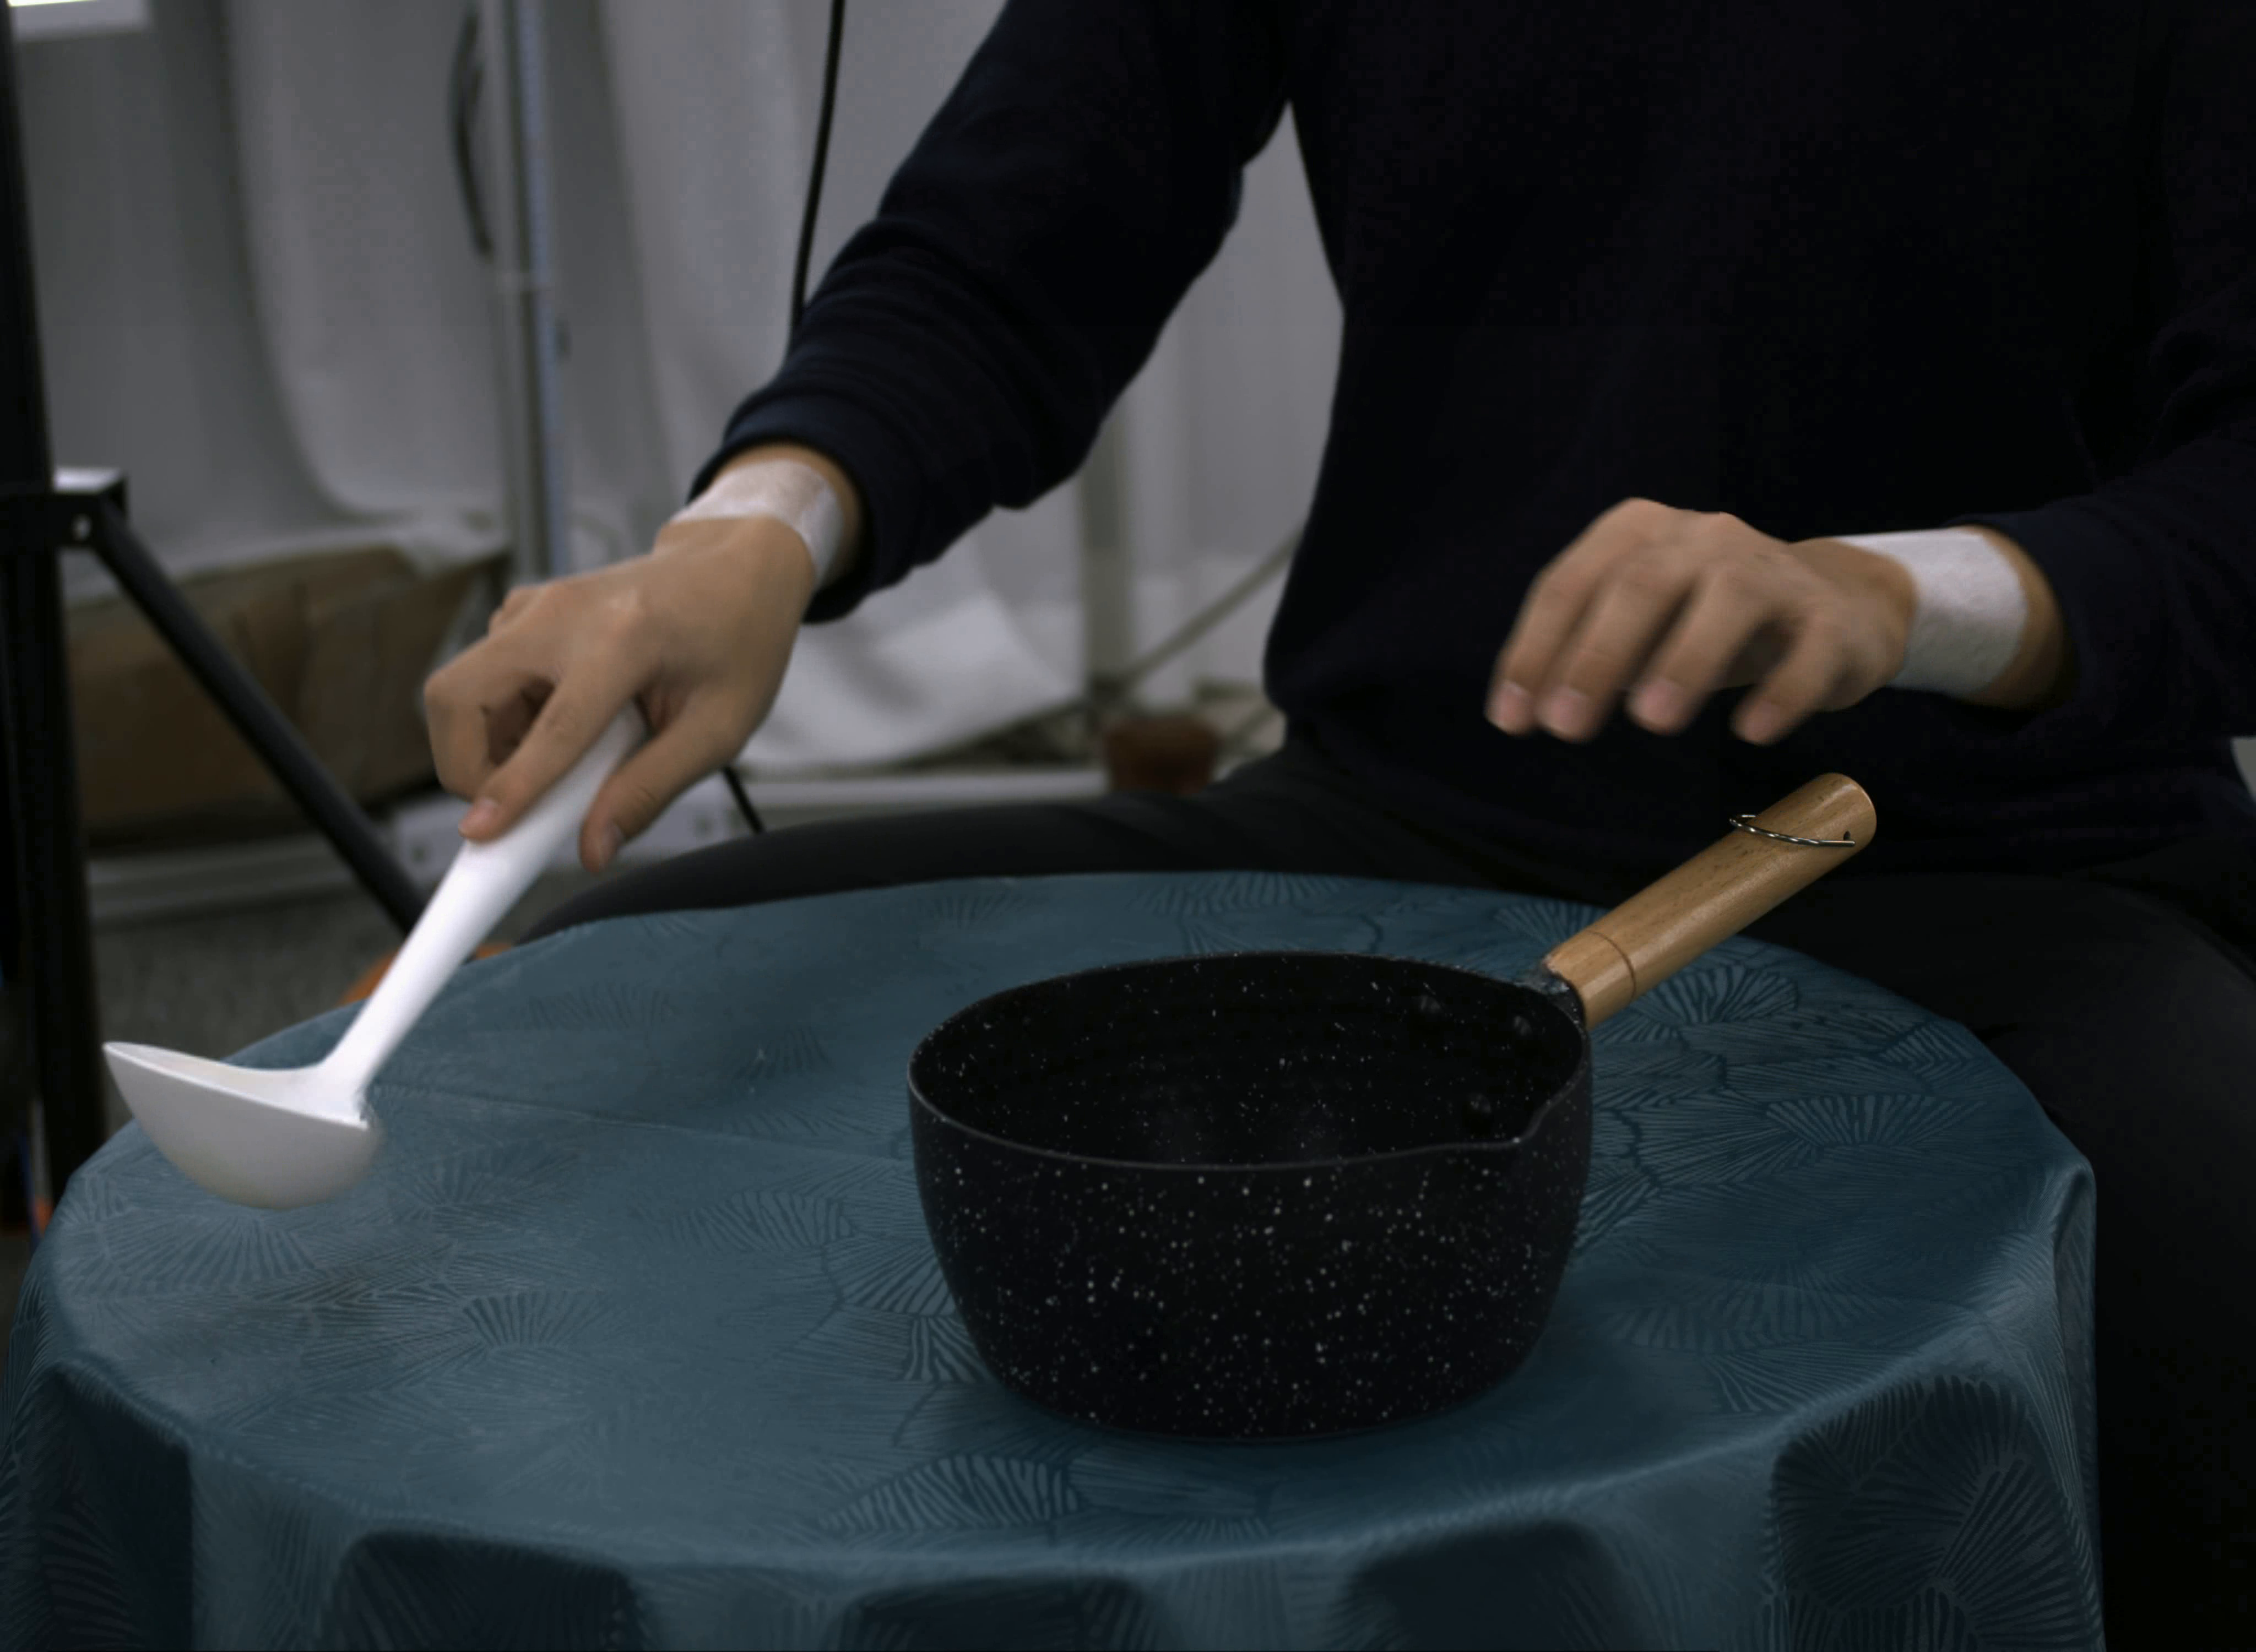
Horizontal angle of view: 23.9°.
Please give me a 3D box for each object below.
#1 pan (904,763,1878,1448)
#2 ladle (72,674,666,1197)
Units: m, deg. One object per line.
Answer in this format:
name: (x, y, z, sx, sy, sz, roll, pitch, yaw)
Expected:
pan: (0.091, 0.072, 1.472, 0.335, 0.108, 0.212, -18, 21, -40)
ladle: (-0.211, 0.020, 1.583, 0.091, 0.069, 0.291, 7, 33, 19)
